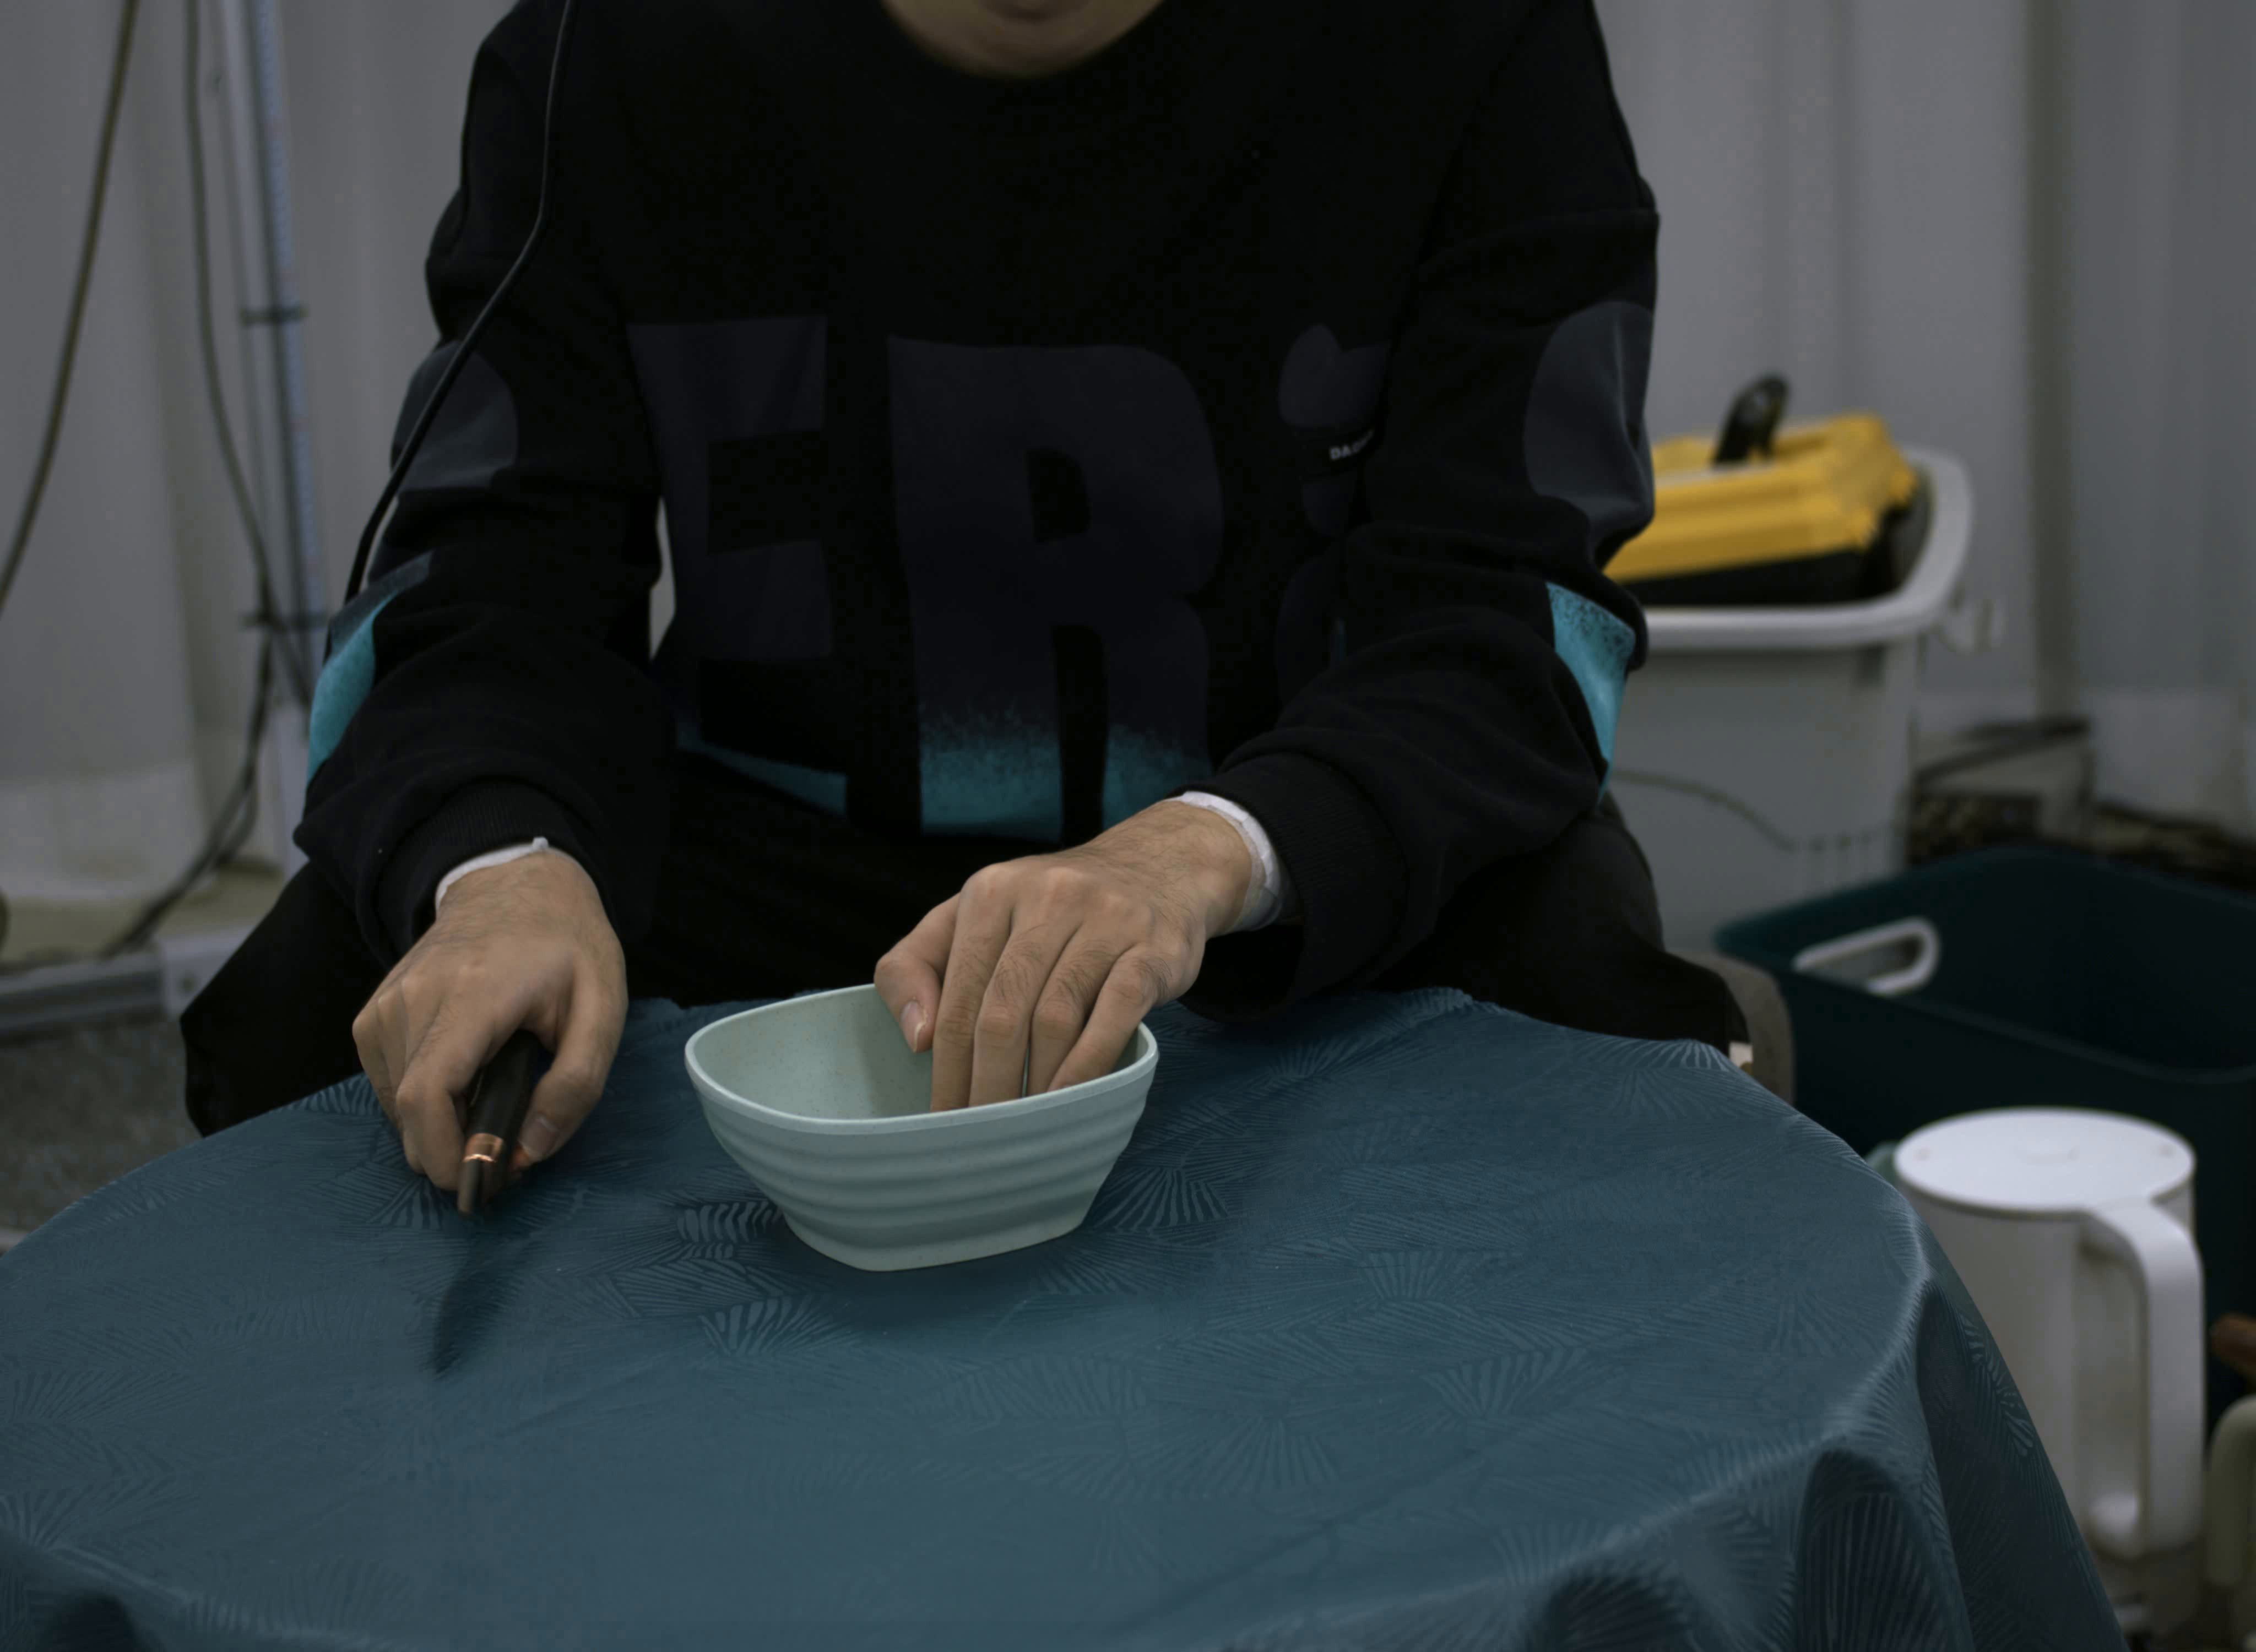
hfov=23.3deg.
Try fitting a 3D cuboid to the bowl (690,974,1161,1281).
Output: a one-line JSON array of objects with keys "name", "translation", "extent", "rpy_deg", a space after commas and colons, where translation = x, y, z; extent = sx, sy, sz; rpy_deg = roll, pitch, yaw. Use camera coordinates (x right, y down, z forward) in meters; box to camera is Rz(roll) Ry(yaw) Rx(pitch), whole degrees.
[{"name": "bowl", "translation": [-0.061, 0.096, 1.691], "extent": [0.151, 0.058, 0.152], "rpy_deg": [-4, 16, 1]}]

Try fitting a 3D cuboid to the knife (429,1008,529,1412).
[{"name": "knife", "translation": [-0.200, 0.115, 1.685], "extent": [0.017, 0.026, 0.228], "rpy_deg": [18, 24, -9]}]
